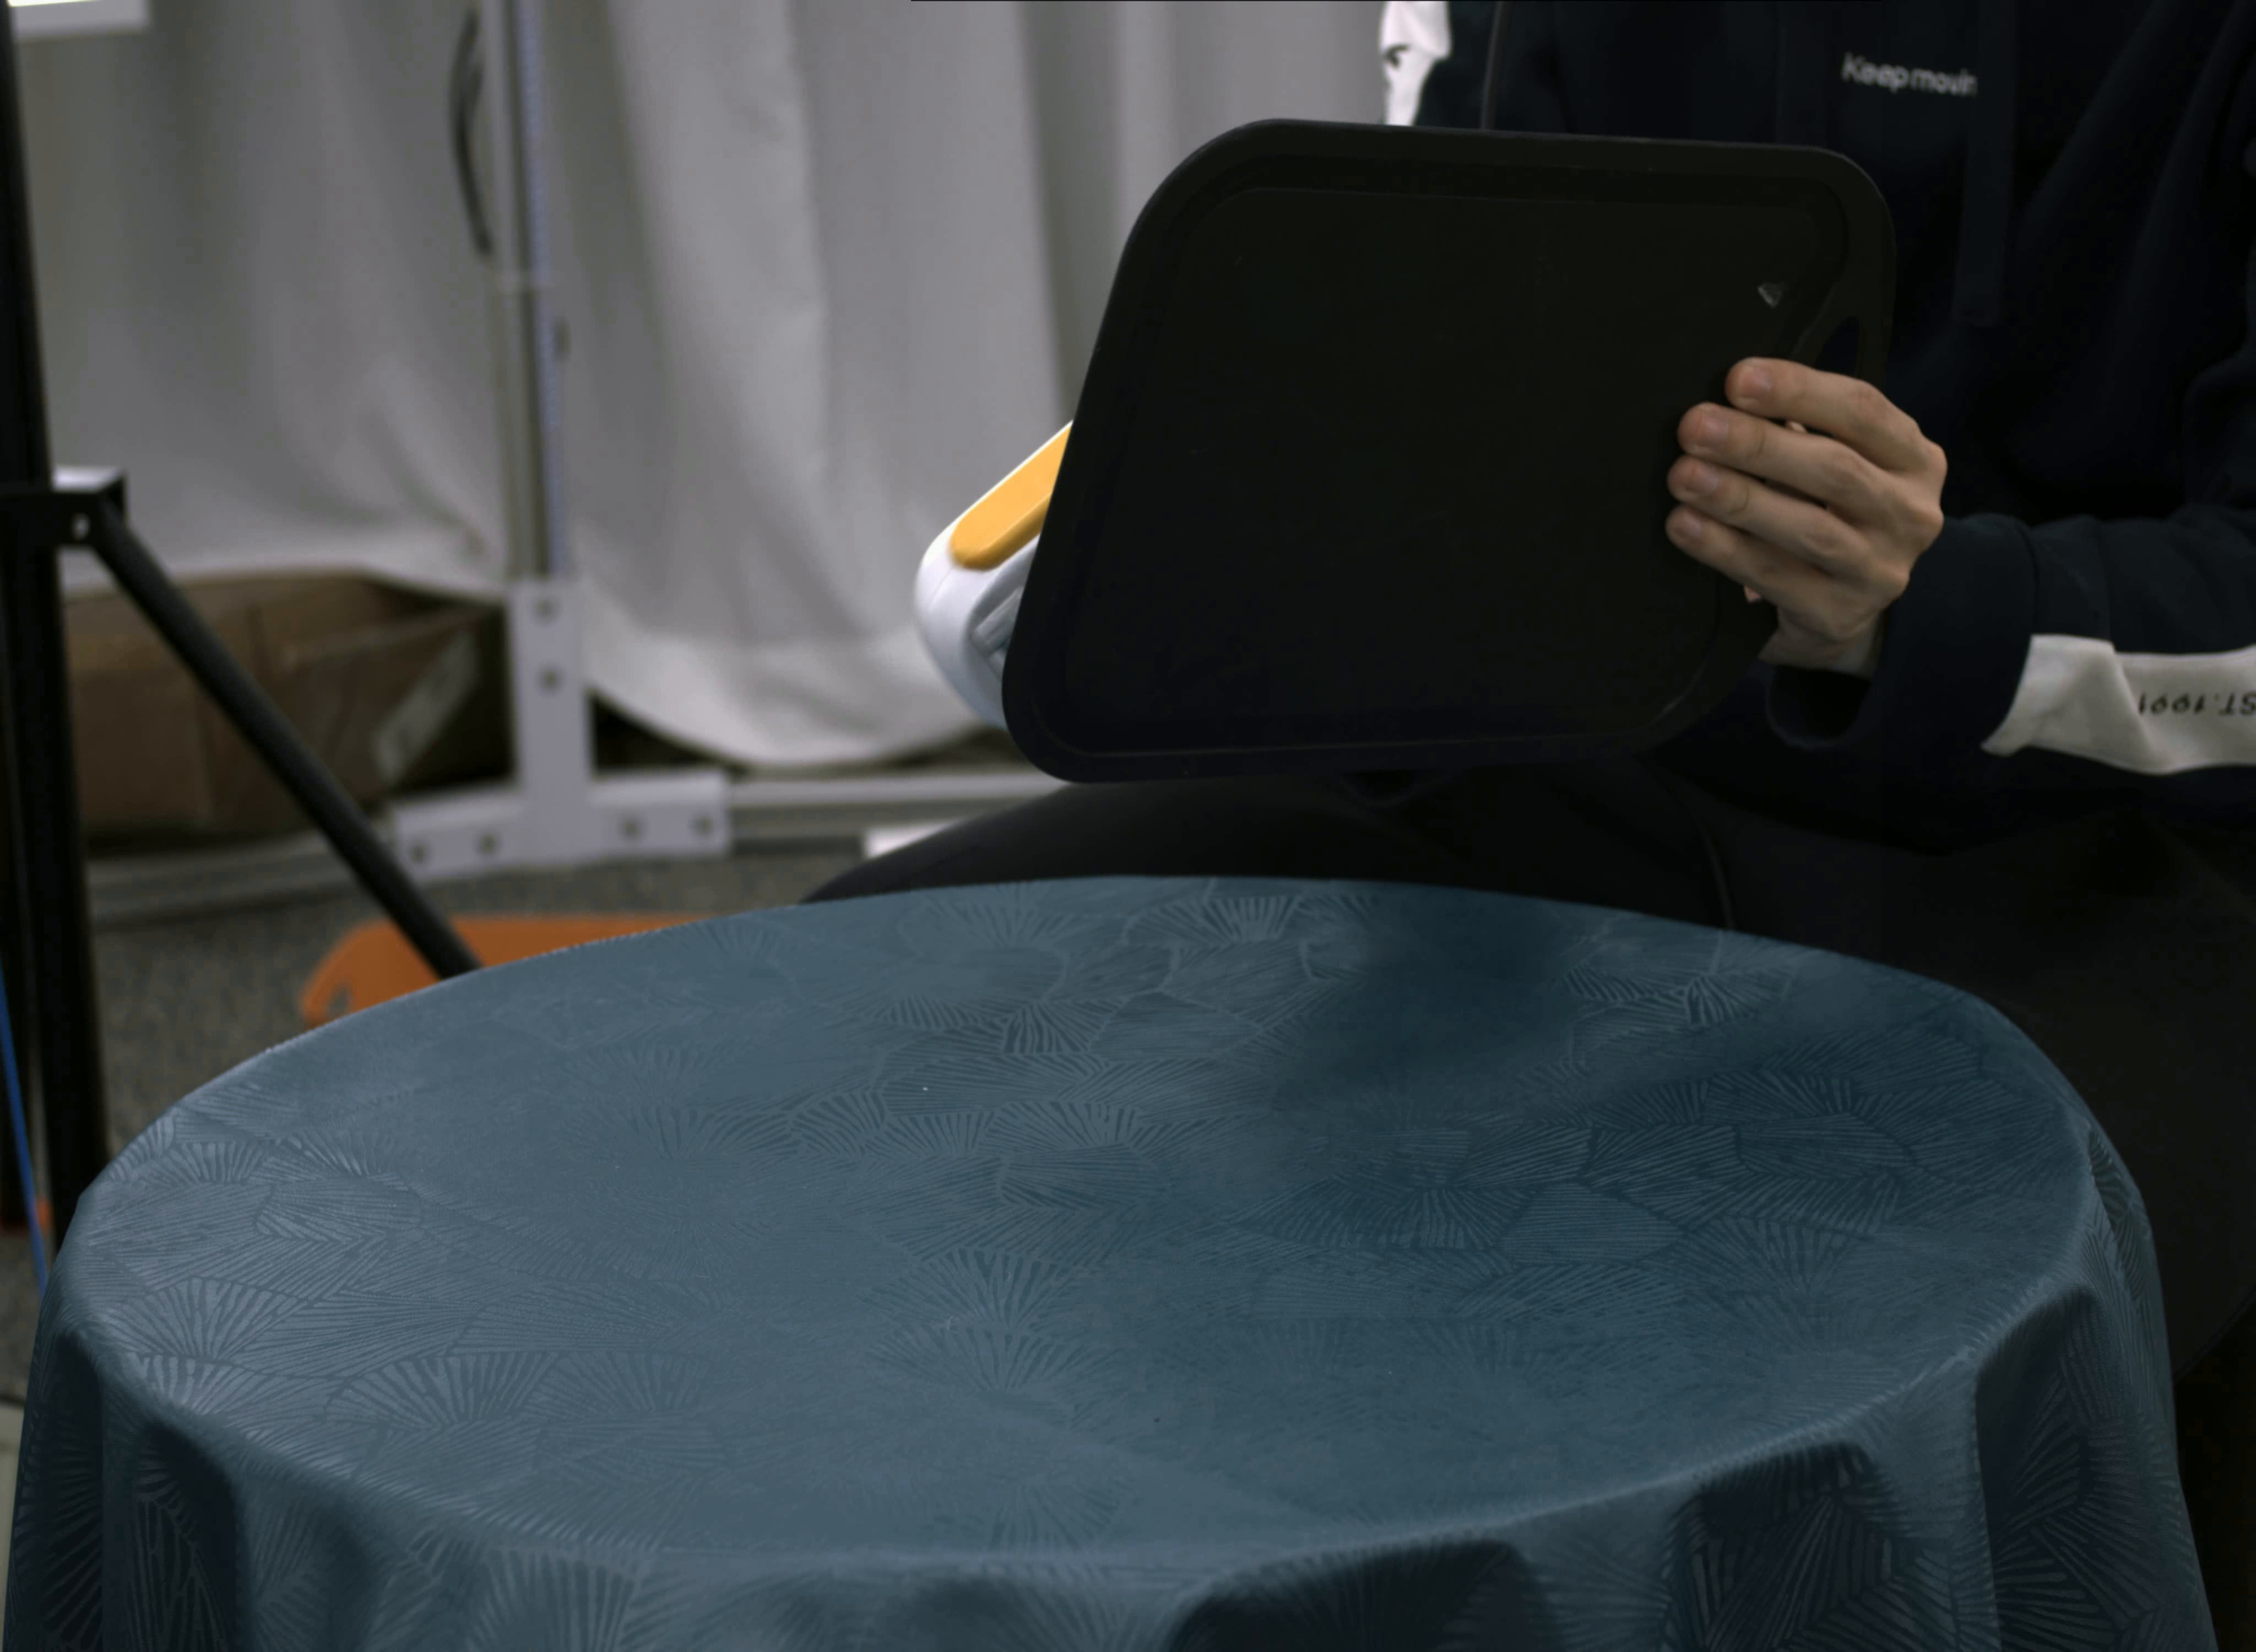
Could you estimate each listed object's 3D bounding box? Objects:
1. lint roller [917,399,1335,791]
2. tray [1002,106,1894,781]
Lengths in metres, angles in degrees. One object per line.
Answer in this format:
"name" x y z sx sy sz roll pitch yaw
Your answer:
"lint roller" 0.037 -0.075 1.672 0.192 0.189 0.076 -41 42 -11
"tray" 0.108 -0.110 1.595 0.317 0.211 0.010 -2 28 -38
